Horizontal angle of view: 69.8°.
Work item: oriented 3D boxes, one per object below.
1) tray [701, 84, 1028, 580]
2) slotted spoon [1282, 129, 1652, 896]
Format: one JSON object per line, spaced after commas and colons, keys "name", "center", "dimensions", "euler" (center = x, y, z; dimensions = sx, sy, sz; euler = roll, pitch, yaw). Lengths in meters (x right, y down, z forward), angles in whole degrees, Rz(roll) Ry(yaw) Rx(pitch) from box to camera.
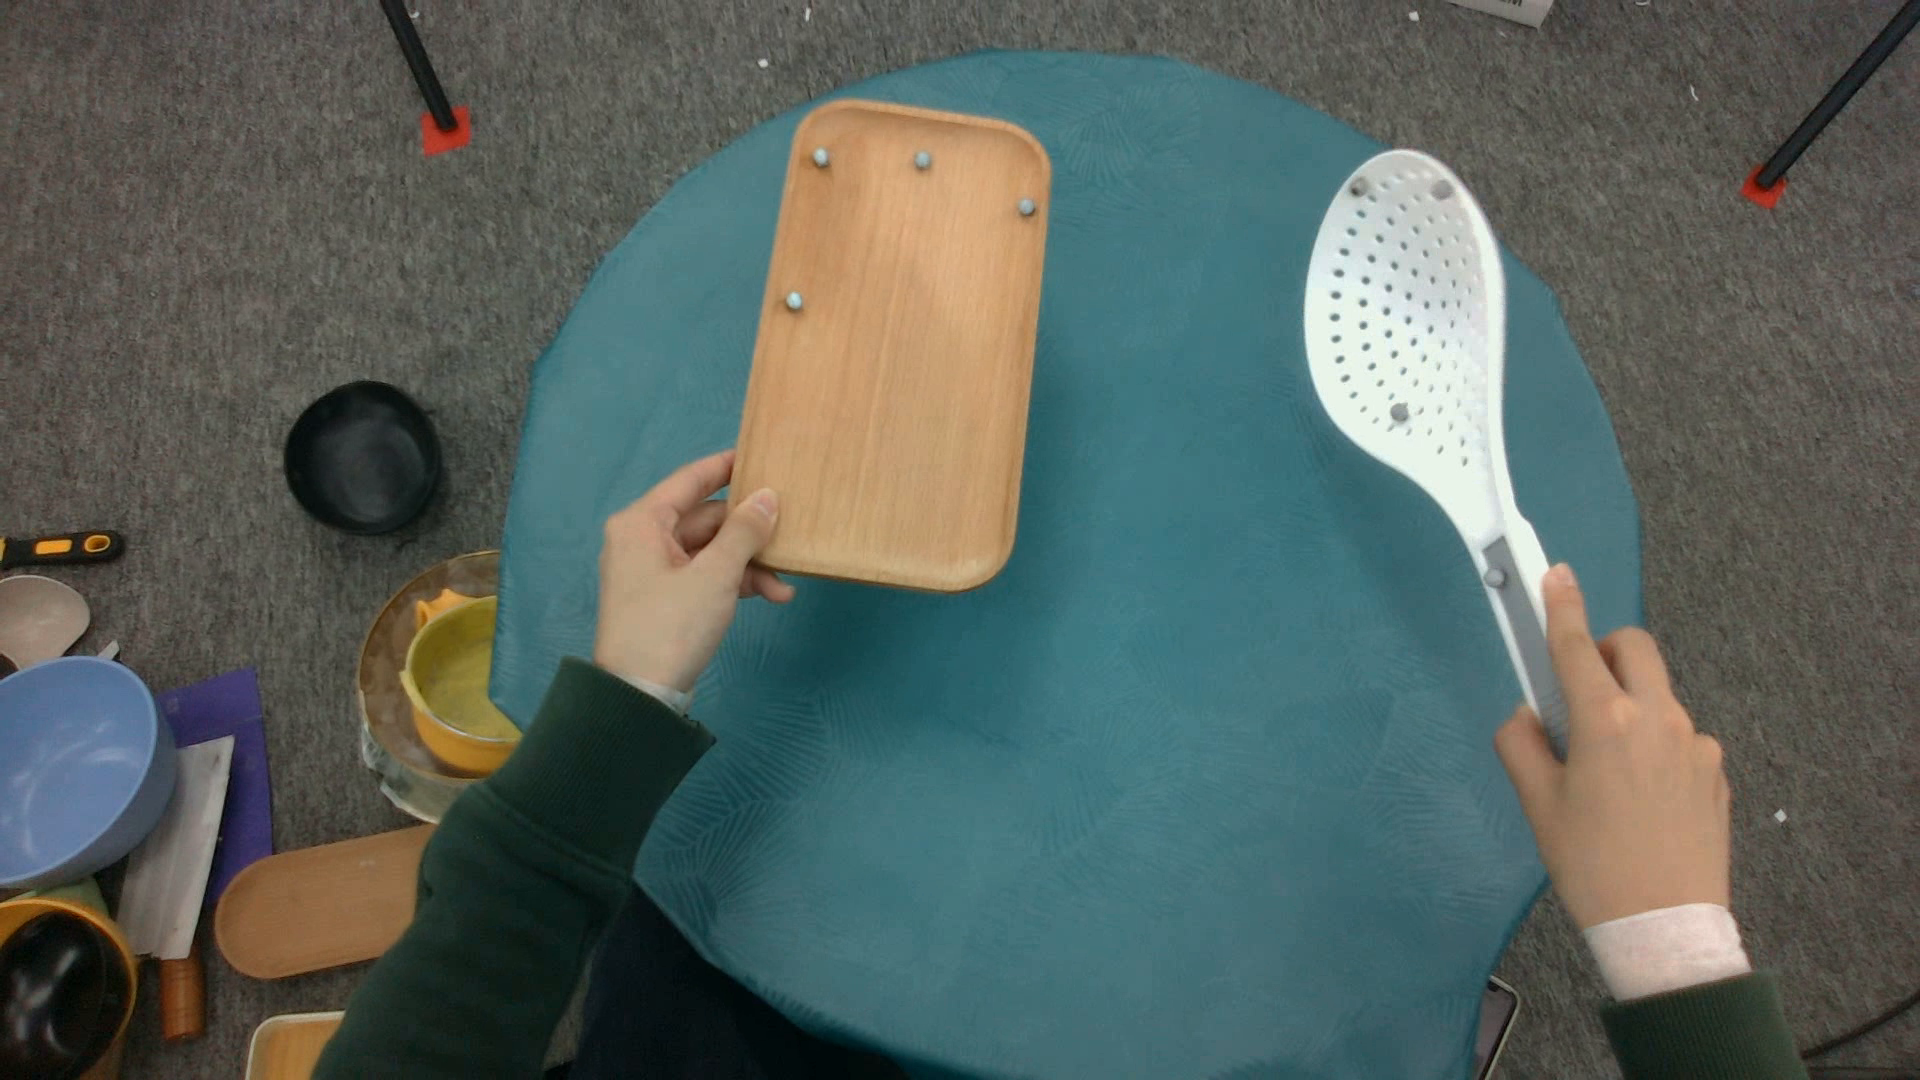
{"name": "tray", "center": [-0.039, -0.102, 0.640], "dimensions": [0.130, 0.023, 0.251], "euler": [7, 69, -1]}
{"name": "slotted spoon", "center": [0.215, -0.023, 0.593], "dimensions": [0.046, 0.135, 0.351], "euler": [0, 62, -16]}
